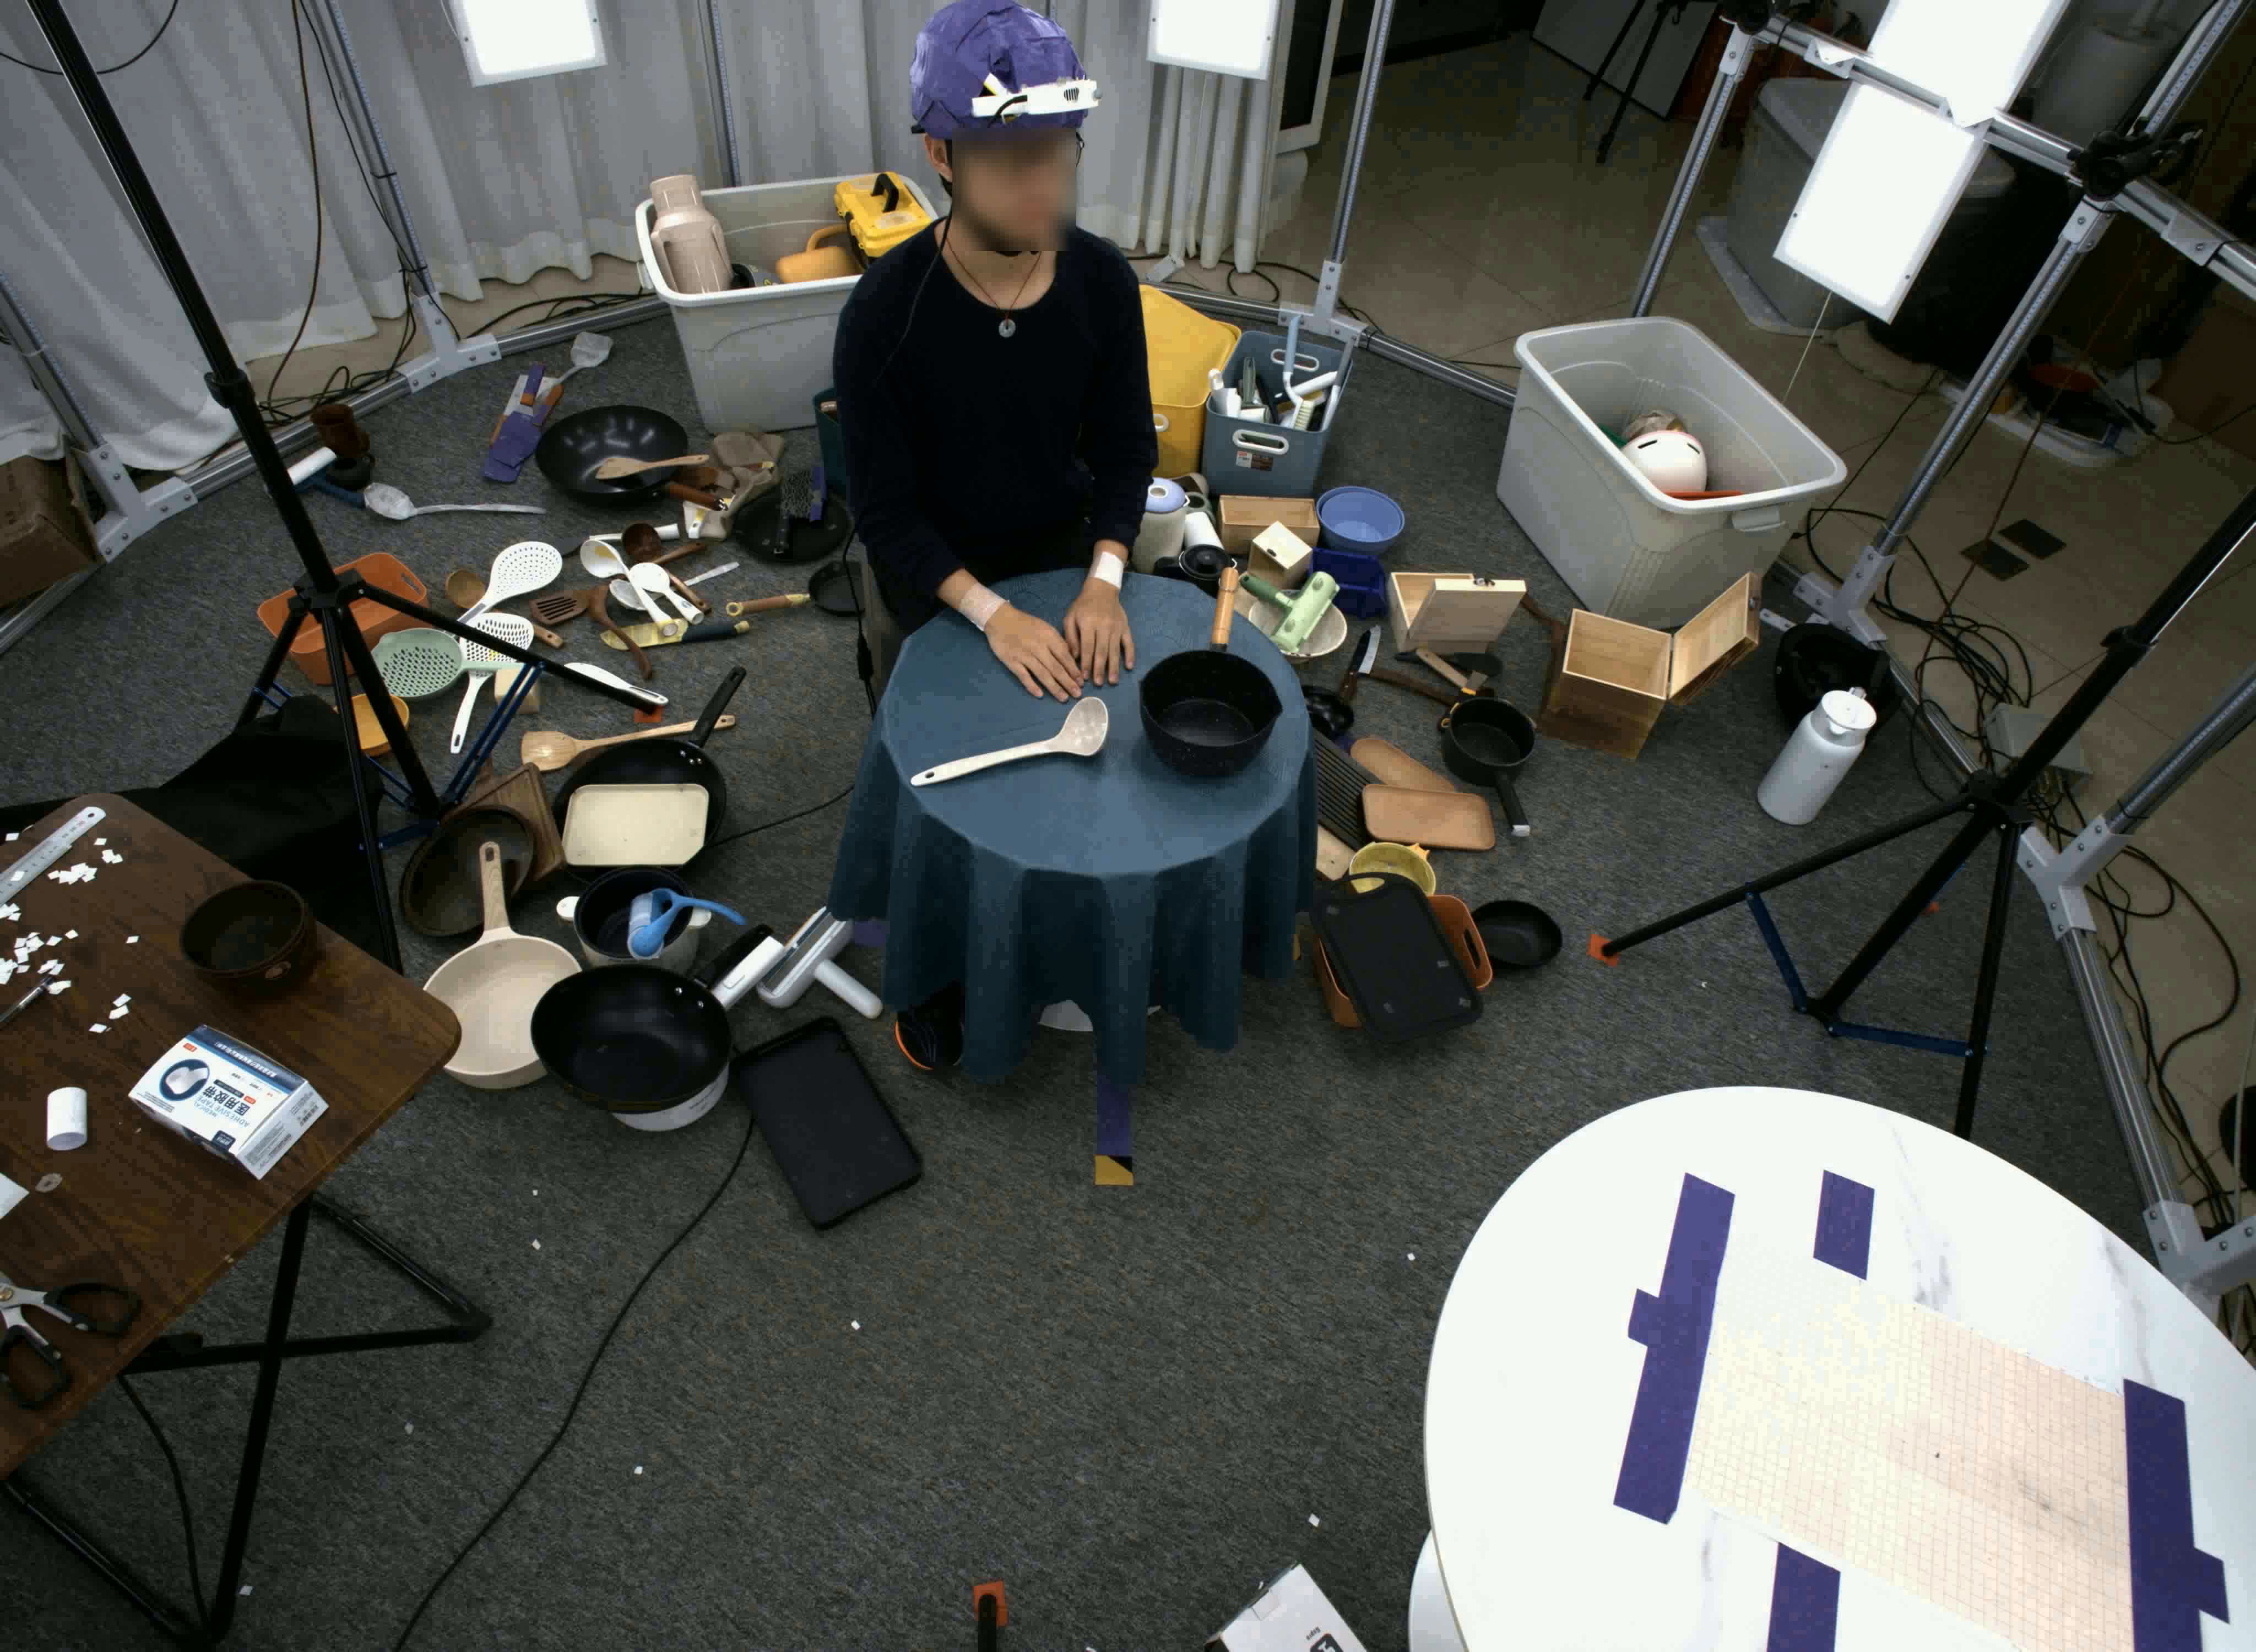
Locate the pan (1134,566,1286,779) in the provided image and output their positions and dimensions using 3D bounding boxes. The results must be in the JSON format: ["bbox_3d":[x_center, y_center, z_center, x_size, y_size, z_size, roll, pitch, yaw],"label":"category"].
[{"bbox_3d":[0.118,-0.216,1.794,0.207,0.105,0.351,7,50,4],"label":"pan"}]

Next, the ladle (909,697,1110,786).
[{"bbox_3d":[-0.157,-0.109,1.708,0.275,0.068,0.091,-13,55,-16],"label":"ladle"}]
